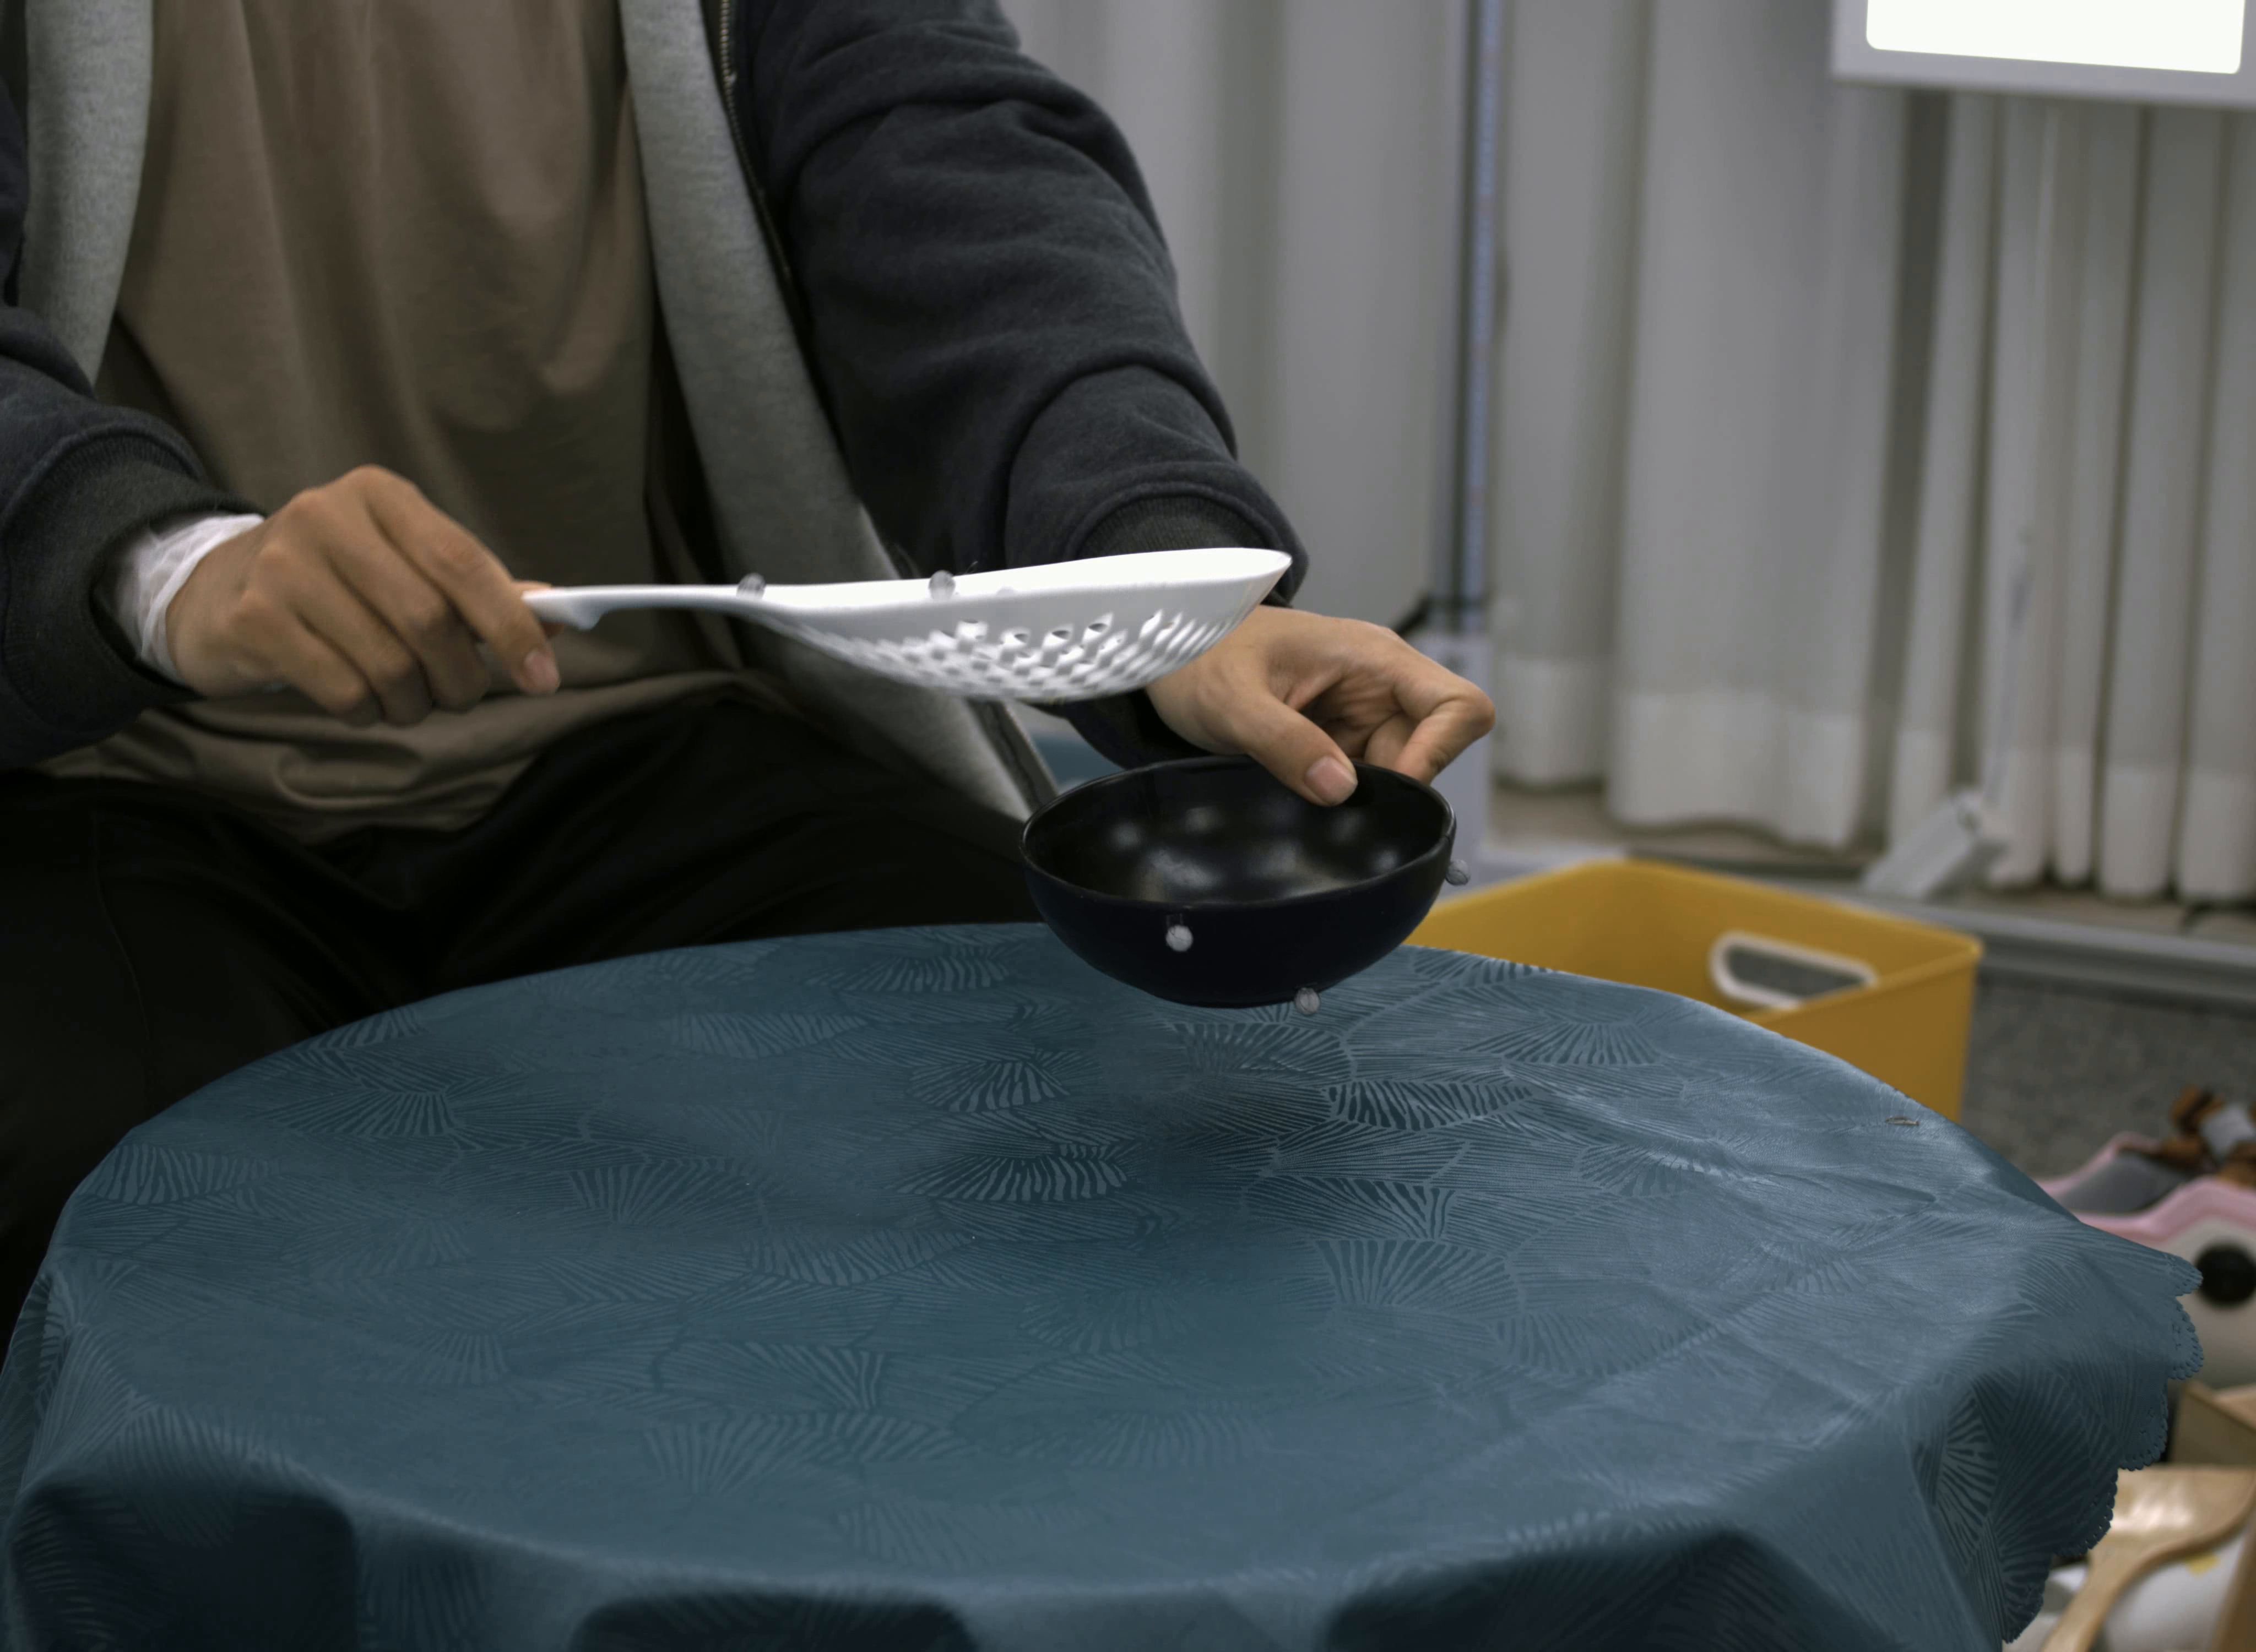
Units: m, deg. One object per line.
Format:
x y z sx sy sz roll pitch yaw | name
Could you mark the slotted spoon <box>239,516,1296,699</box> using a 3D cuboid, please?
-0.116 -0.063 1.590 0.344 0.050 0.137 1 8 23 | slotted spoon
